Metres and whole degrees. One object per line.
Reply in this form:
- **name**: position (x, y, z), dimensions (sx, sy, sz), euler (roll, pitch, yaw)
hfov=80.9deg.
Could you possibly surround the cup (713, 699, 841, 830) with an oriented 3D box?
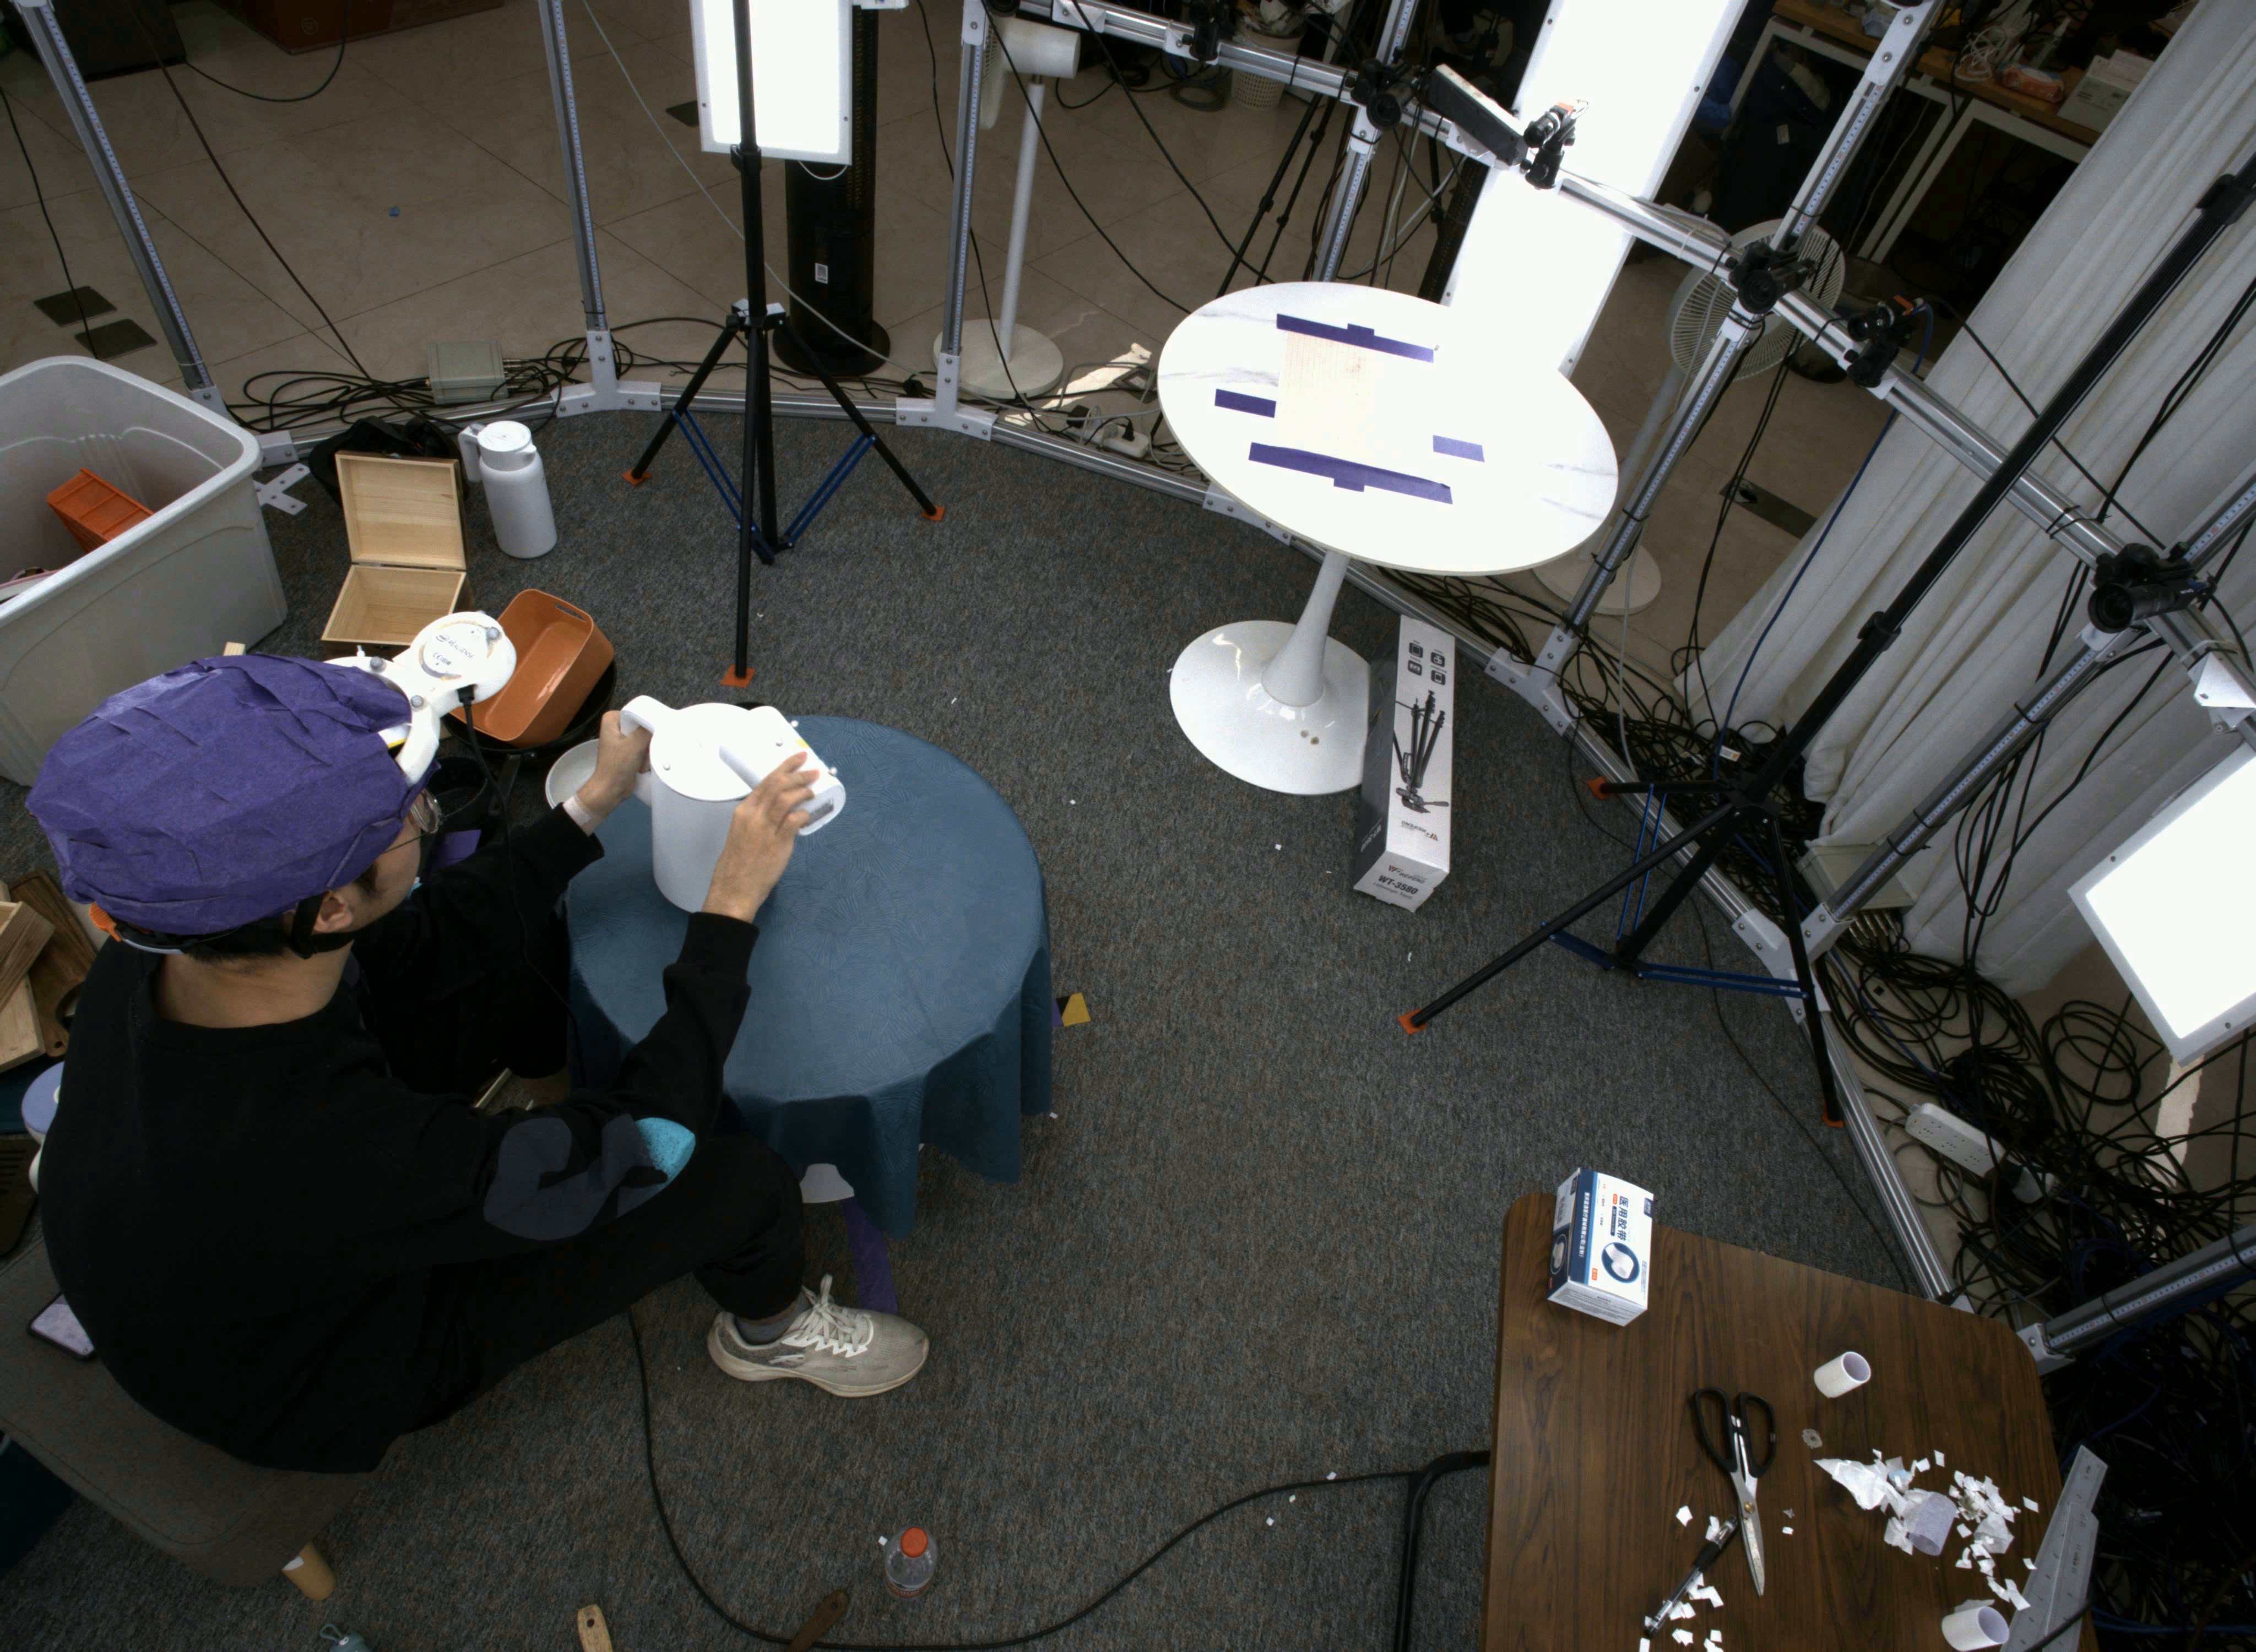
- **cup**: position (-0.367, -0.064, 1.363), dimensions (0.122, 0.083, 0.082), euler (41, 55, 18)

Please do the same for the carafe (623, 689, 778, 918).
- **carafe**: position (-0.514, -0.036, 1.542), dimensions (0.210, 0.244, 0.151), euler (32, 50, 7)
